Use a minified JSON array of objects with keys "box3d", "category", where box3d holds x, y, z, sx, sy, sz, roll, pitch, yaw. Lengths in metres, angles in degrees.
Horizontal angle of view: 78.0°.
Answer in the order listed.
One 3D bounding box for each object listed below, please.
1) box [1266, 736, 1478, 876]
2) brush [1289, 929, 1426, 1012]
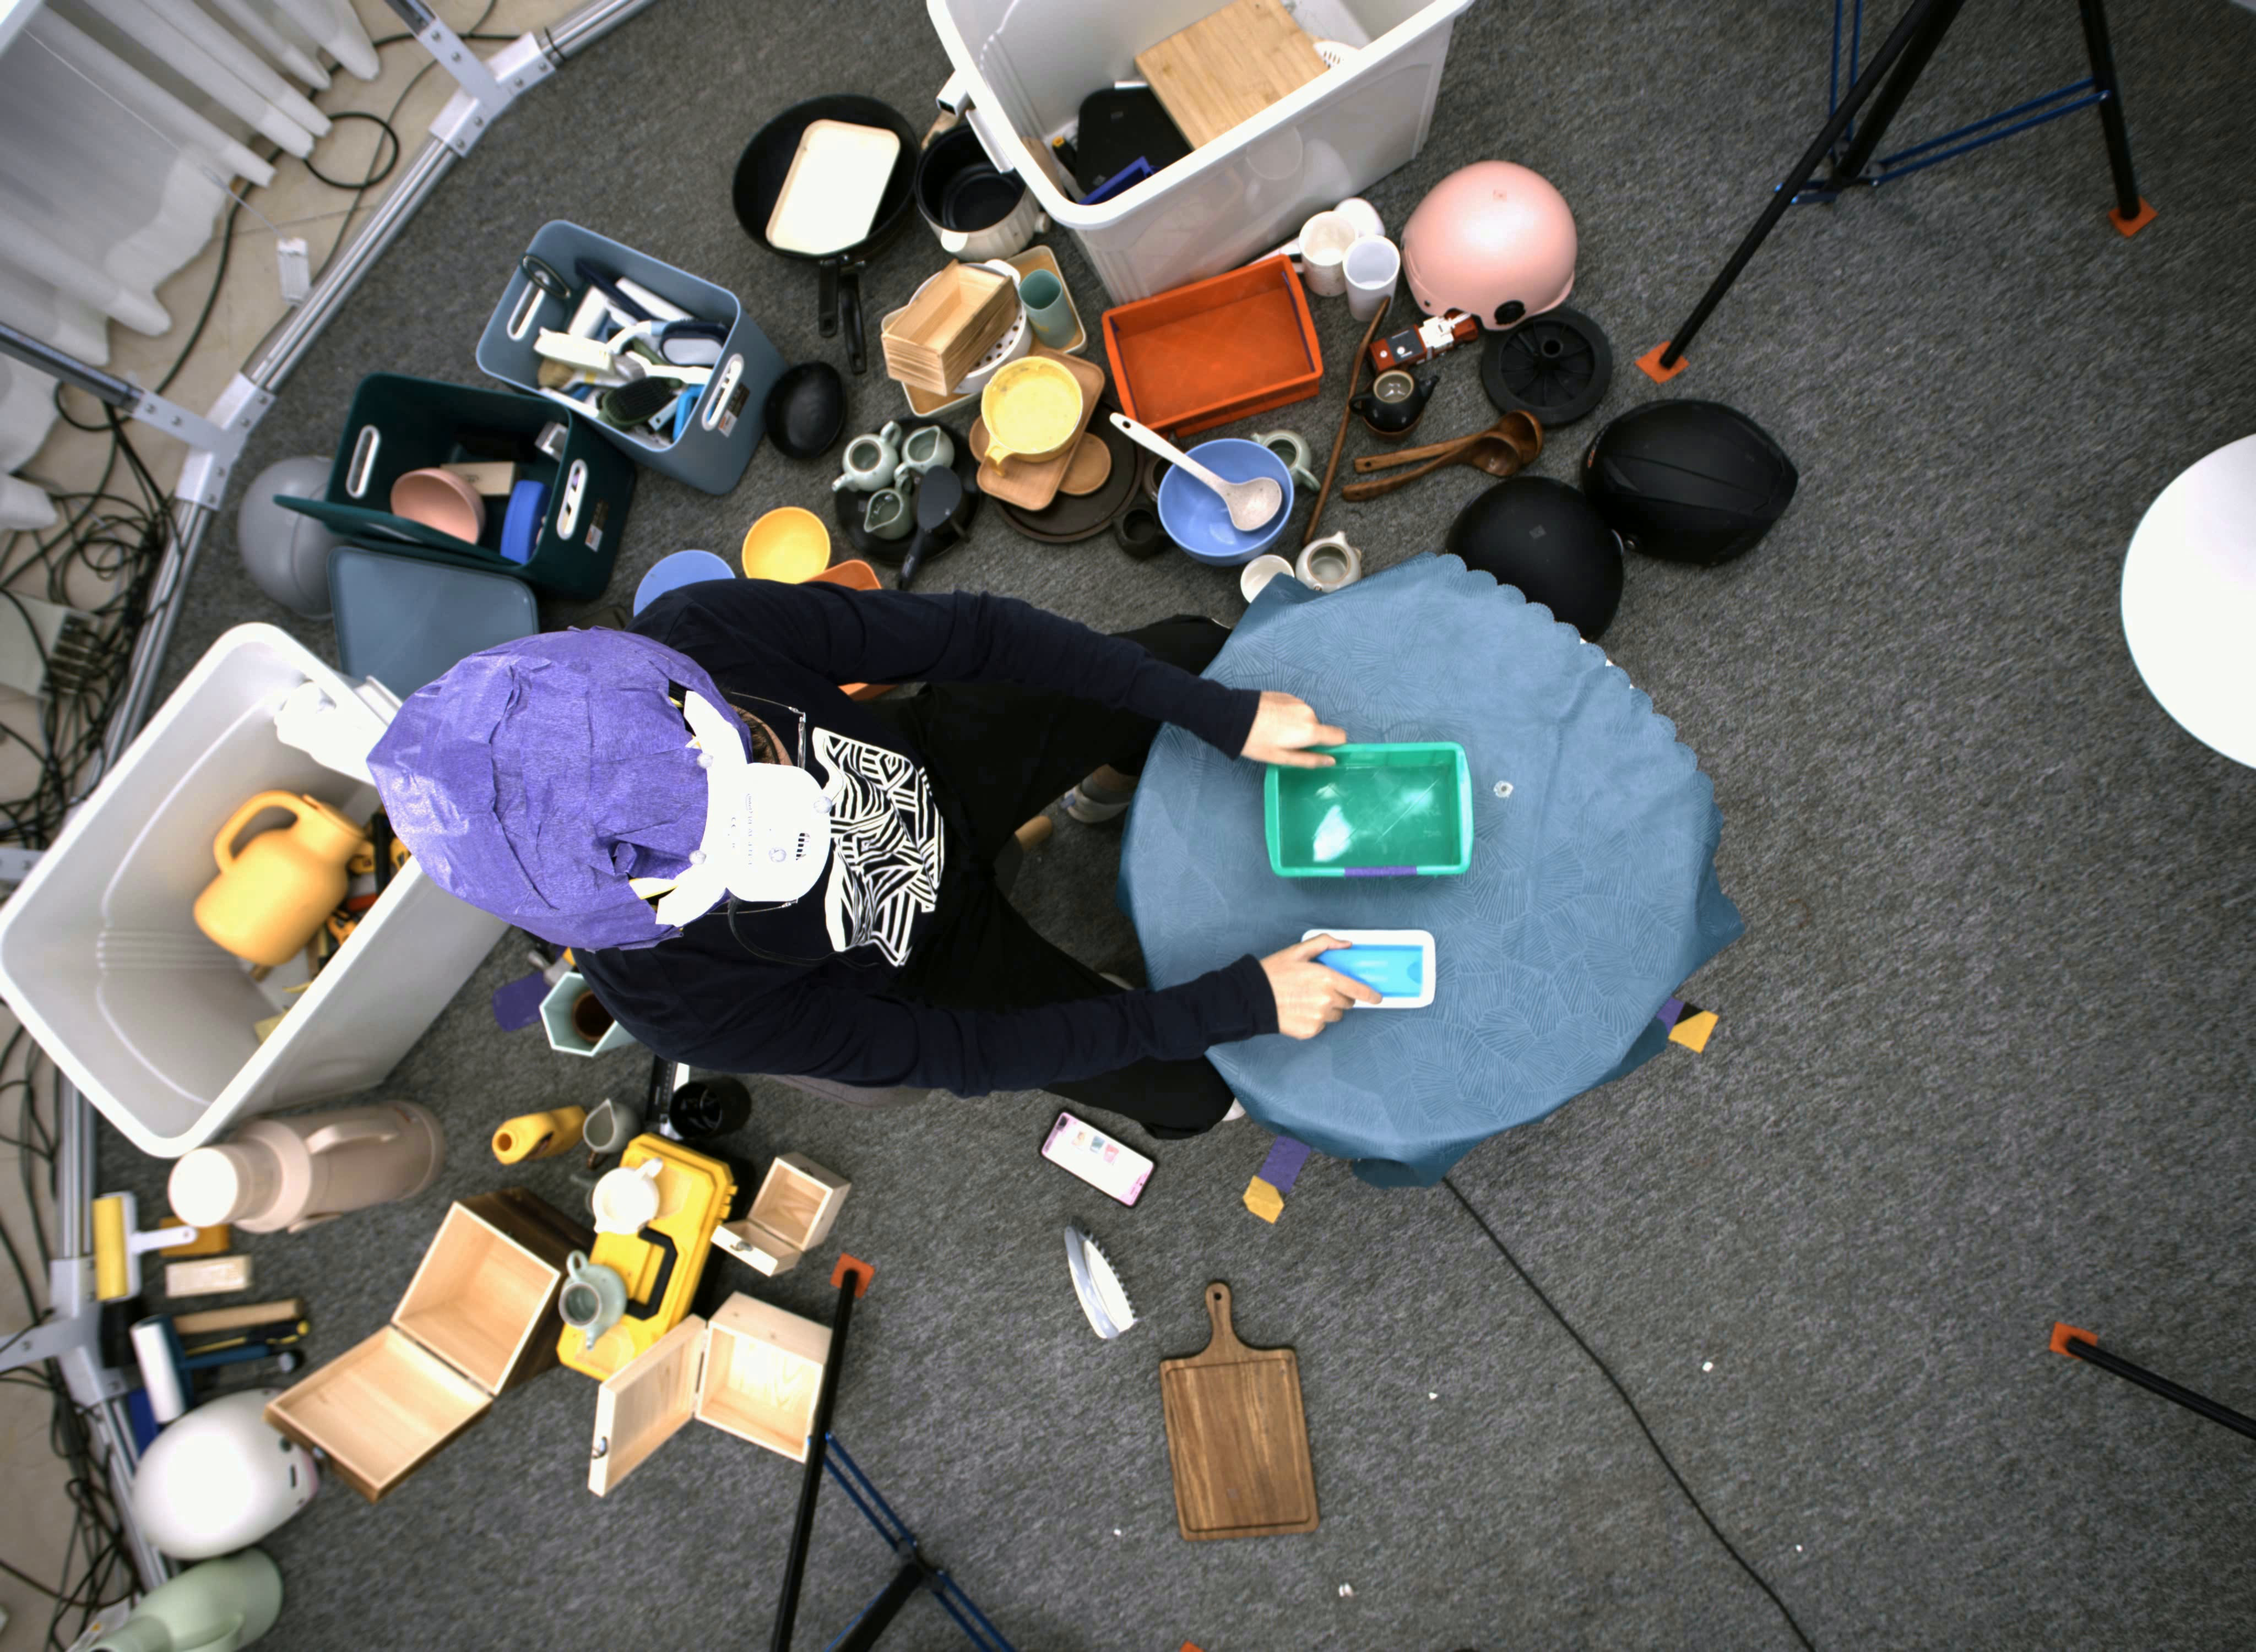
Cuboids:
[{"box3d":[0.249,-0.017,1.419,0.211,0.066,0.137,-2,80,7],"category":"box"},{"box3d":[0.239,0.149,1.418,0.144,0.056,0.083,2,89,-4],"category":"brush"}]
